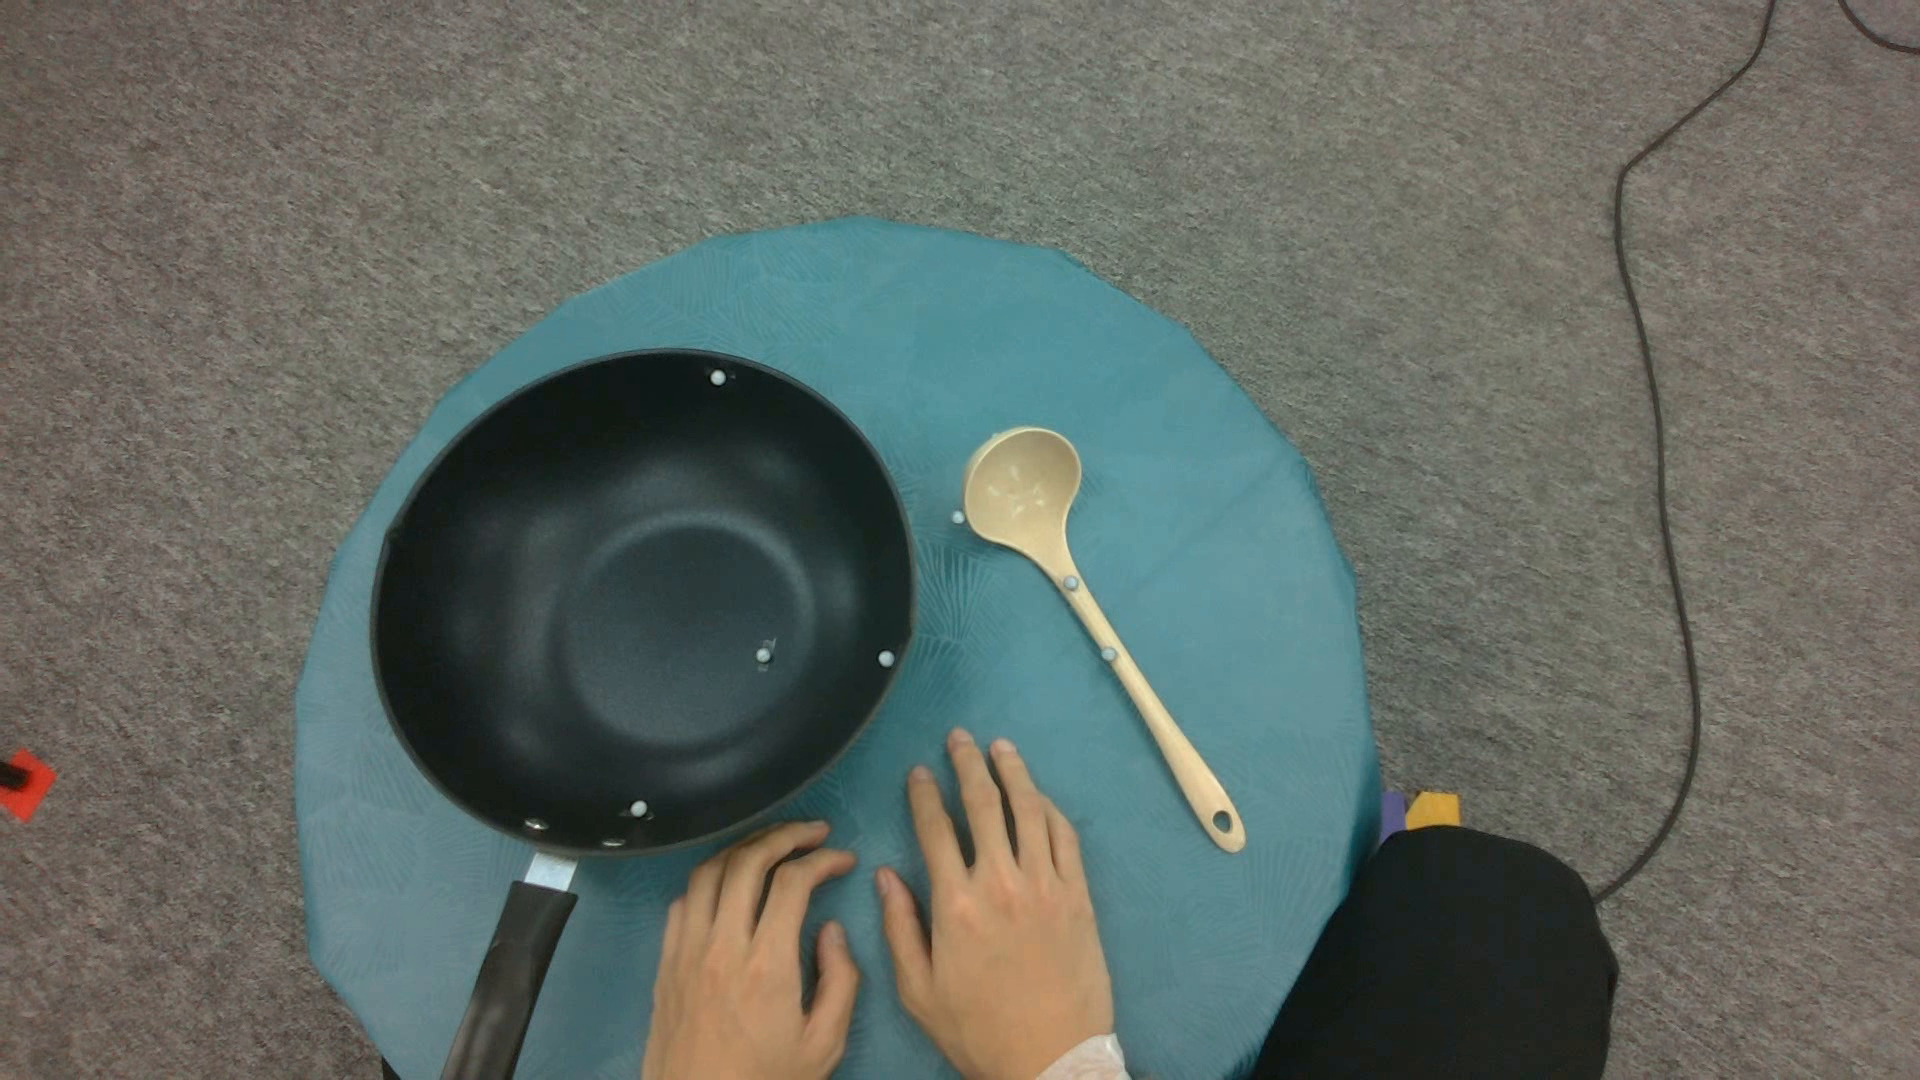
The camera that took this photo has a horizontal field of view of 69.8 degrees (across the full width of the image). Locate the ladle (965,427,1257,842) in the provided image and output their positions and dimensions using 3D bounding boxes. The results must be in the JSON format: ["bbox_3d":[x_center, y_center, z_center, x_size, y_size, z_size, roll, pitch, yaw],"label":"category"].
[{"bbox_3d":[0.089,0.047,0.747,0.072,0.072,0.255,-29,68,-14],"label":"ladle"}]

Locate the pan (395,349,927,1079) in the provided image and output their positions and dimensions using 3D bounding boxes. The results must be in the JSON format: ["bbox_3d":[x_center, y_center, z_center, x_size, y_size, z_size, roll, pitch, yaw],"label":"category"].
[{"bbox_3d":[-0.178,0.120,0.728,0.288,0.086,0.465,11,69,8],"label":"pan"}]
